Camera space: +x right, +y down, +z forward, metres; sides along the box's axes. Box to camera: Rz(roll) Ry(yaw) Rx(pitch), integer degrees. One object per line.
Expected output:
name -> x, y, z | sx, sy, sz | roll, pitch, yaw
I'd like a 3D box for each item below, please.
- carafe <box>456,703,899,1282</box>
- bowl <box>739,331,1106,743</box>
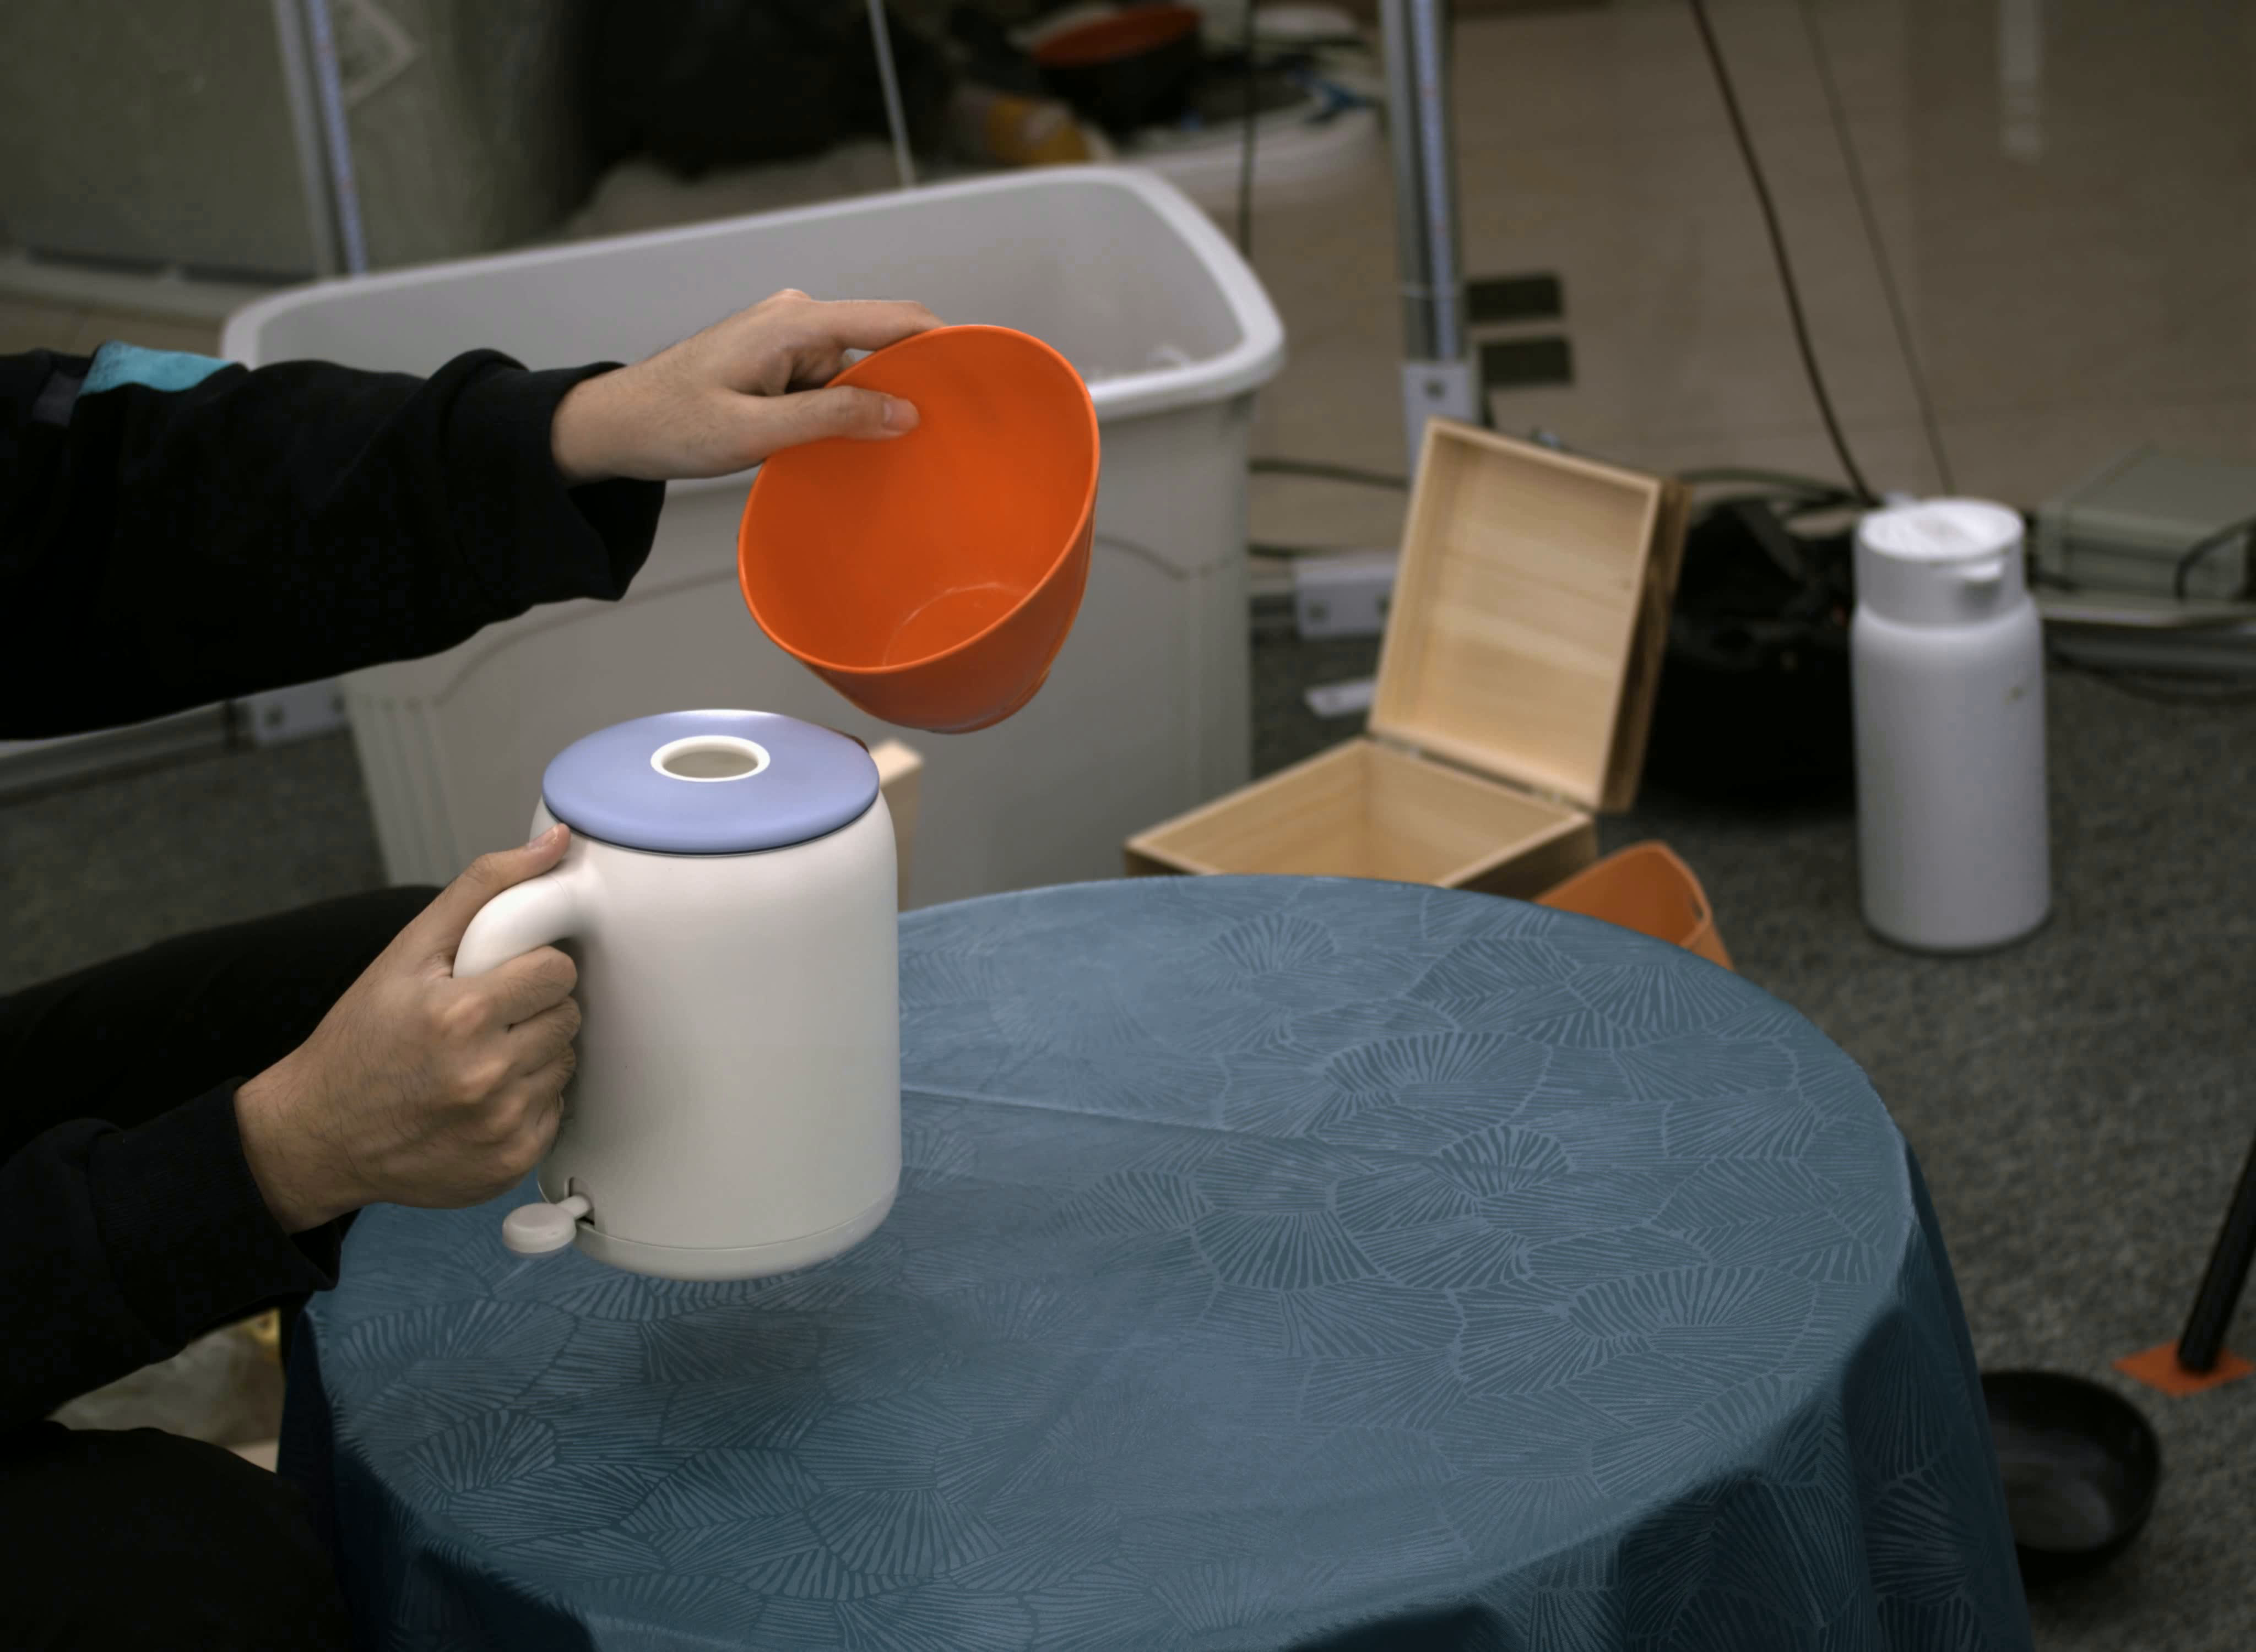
carafe -> -0.164, 0.066, 1.997 | 0.131, 0.185, 0.189 | 22, 34, 38
bowl -> -0.064, -0.095, 2.093 | 0.148, 0.106, 0.145 | -10, 52, 13
